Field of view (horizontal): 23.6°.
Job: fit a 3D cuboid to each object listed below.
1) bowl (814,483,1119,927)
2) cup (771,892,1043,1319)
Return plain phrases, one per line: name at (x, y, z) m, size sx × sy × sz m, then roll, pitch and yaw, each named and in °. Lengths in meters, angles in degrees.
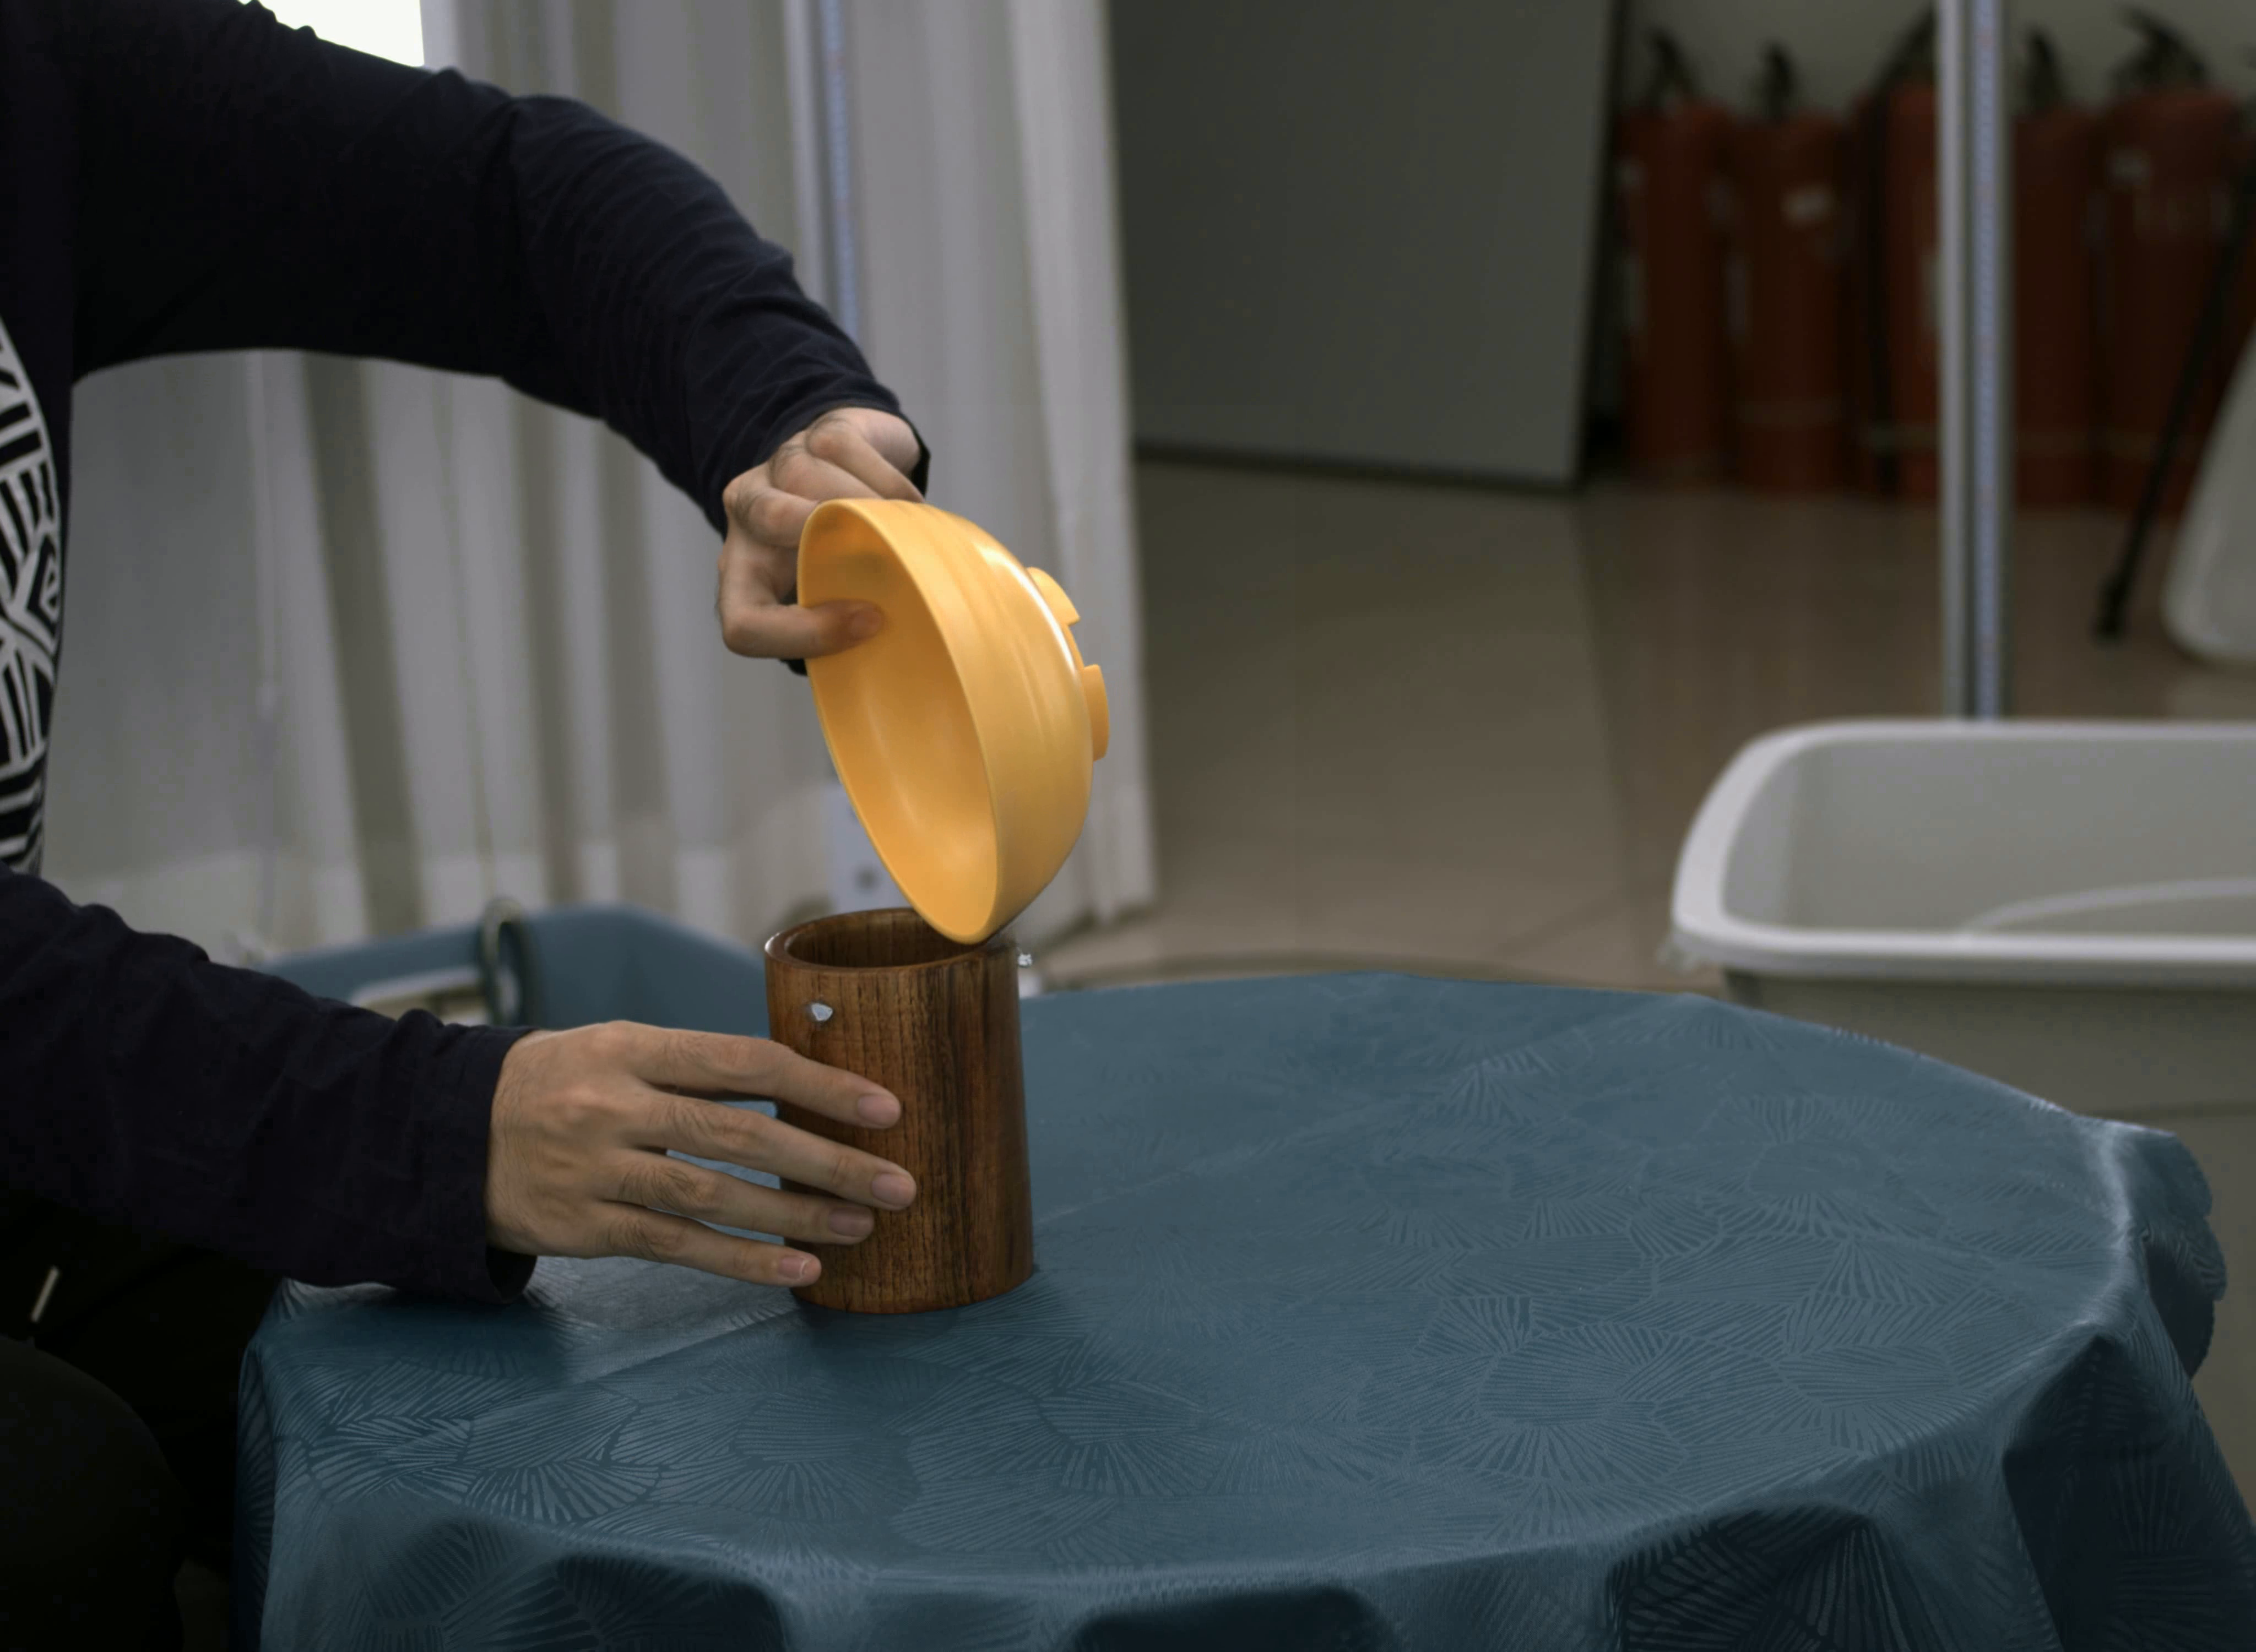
bowl at (-0.043, -0.046, 1.680) m, size 0.059 × 0.146 × 0.146 m, roll -22°, pitch 18°, yaw -14°
cup at (-0.069, 0.086, 1.690) m, size 0.086 × 0.120 × 0.088 m, roll -2°, pitch 10°, yaw -1°
